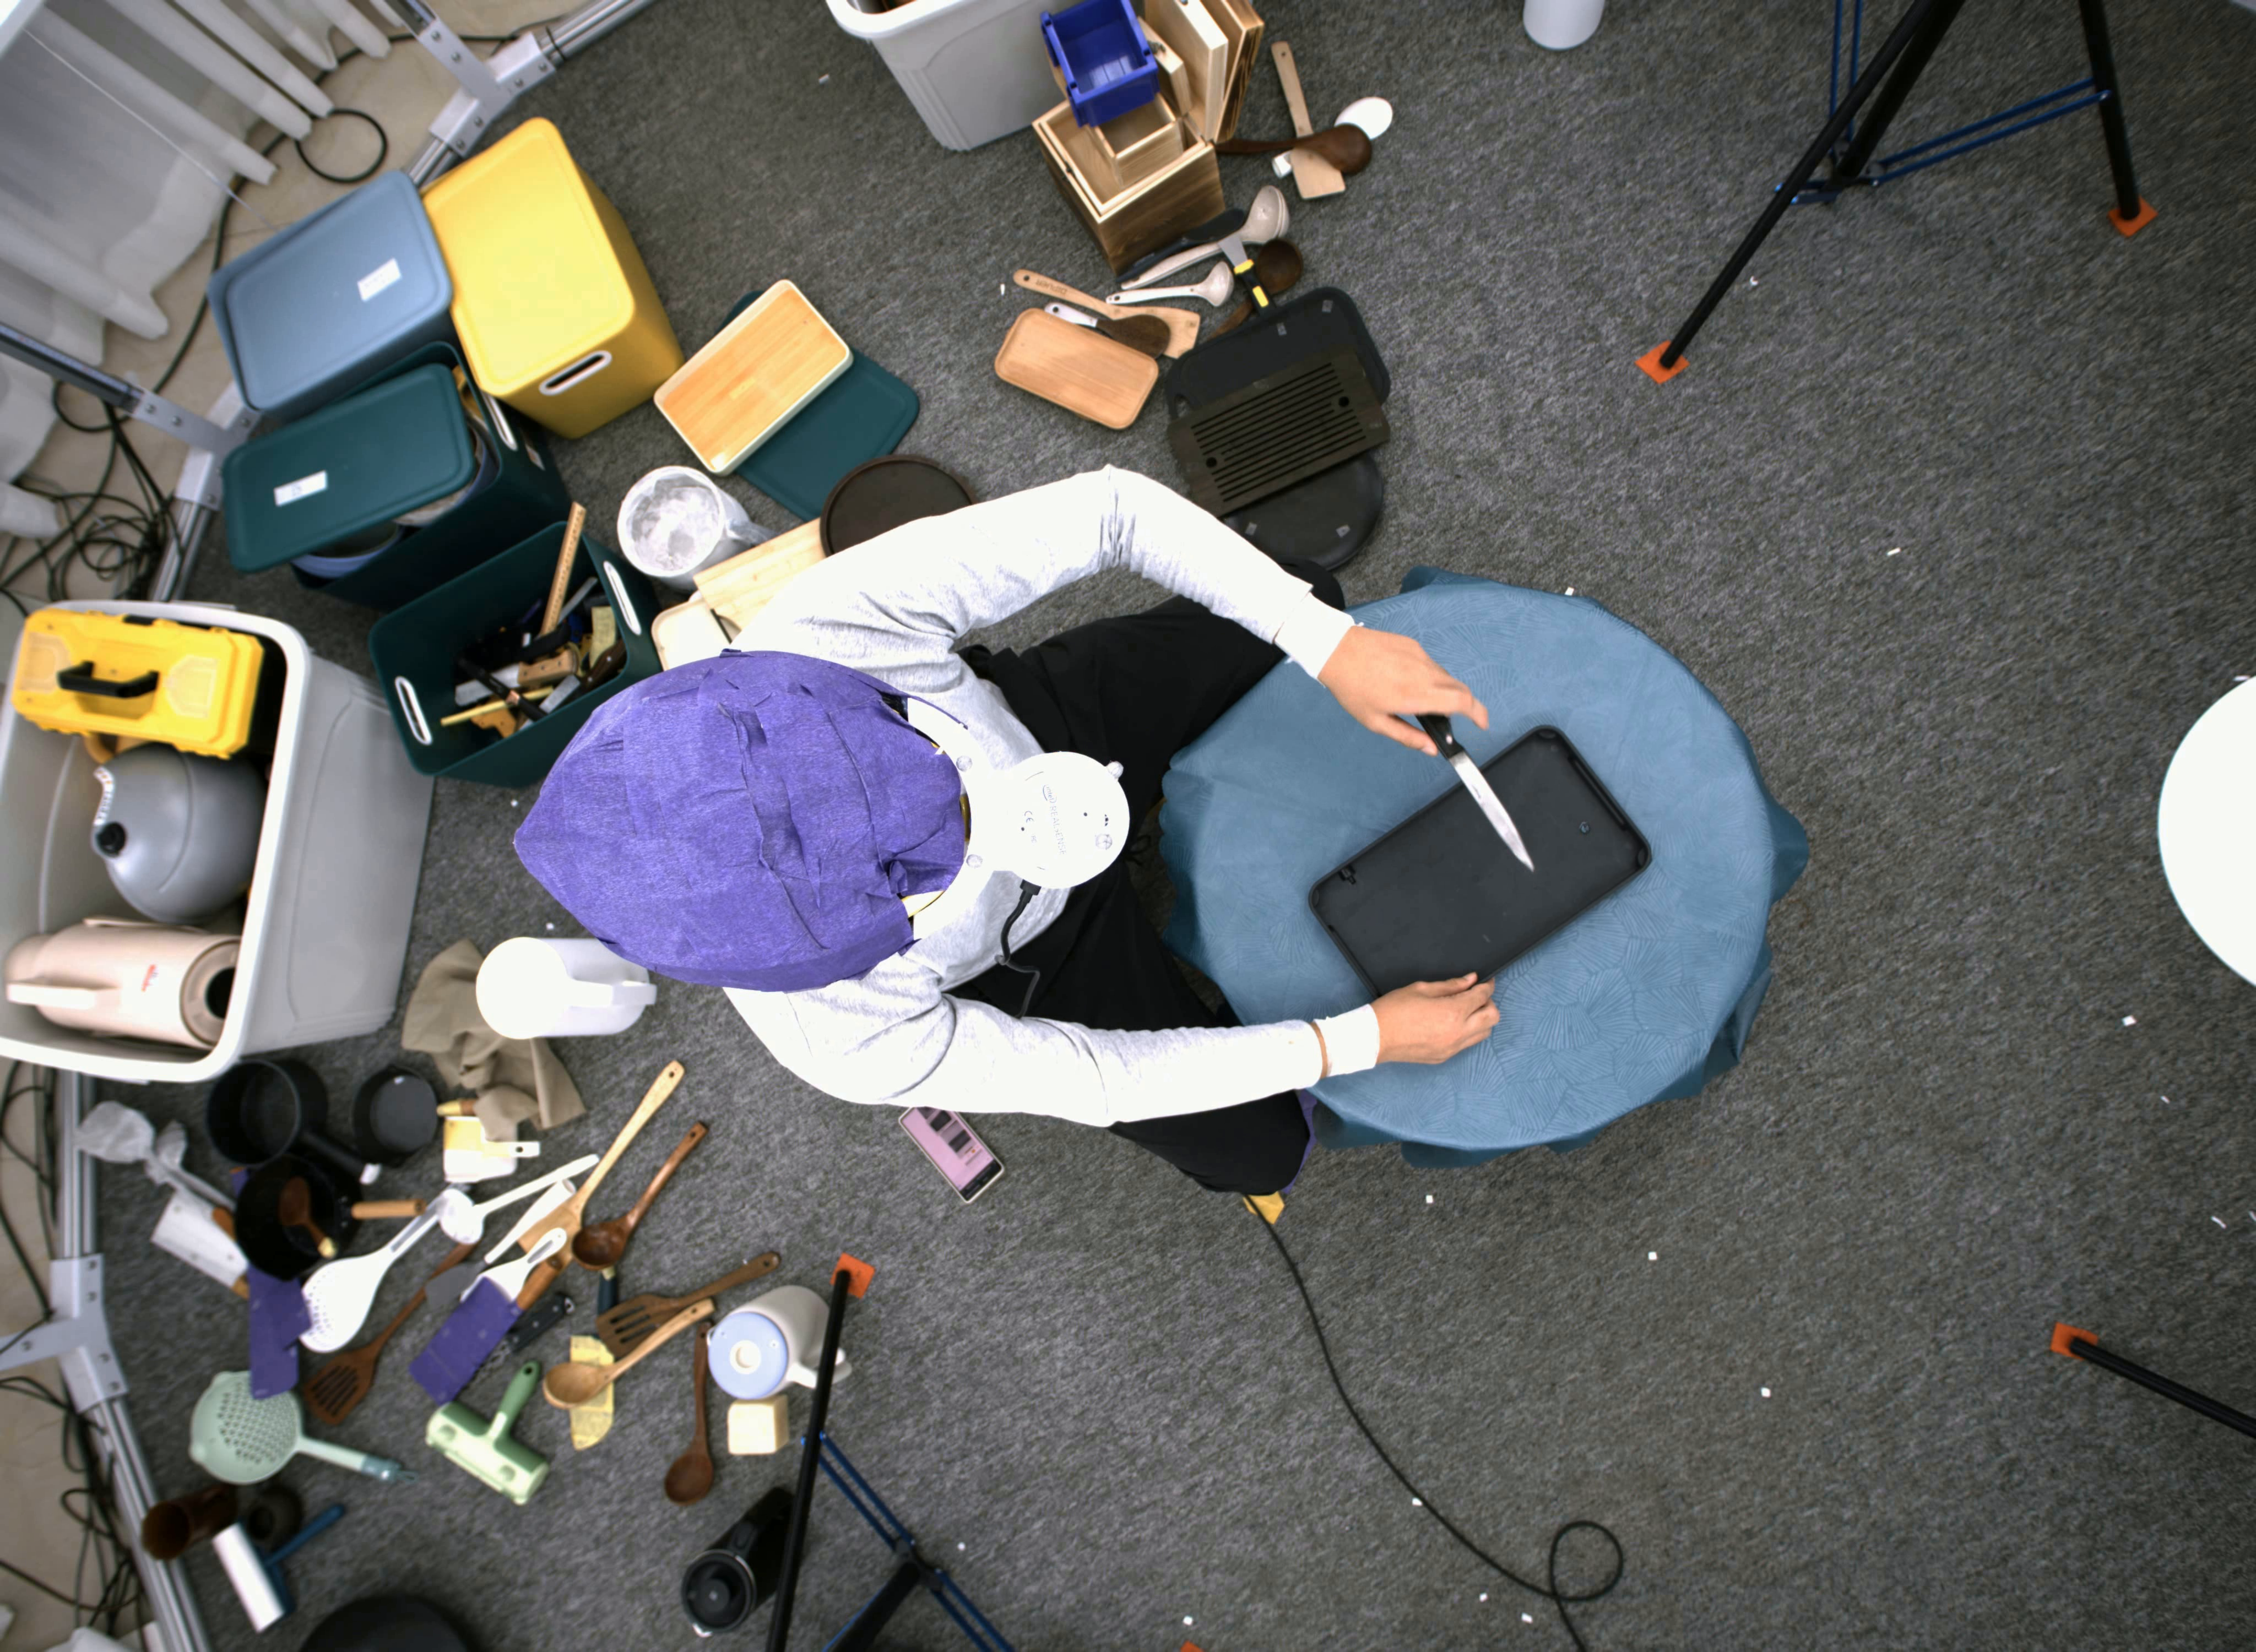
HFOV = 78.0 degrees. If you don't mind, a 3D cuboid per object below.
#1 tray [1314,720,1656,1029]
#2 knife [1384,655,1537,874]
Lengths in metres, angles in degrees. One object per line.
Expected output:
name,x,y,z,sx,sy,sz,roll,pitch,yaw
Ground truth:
tray,0.366,0.049,1.425,0.320,0.037,0.183,-38,80,7
knife,0.302,-0.057,1.249,0.024,0.016,0.237,-28,81,-26
